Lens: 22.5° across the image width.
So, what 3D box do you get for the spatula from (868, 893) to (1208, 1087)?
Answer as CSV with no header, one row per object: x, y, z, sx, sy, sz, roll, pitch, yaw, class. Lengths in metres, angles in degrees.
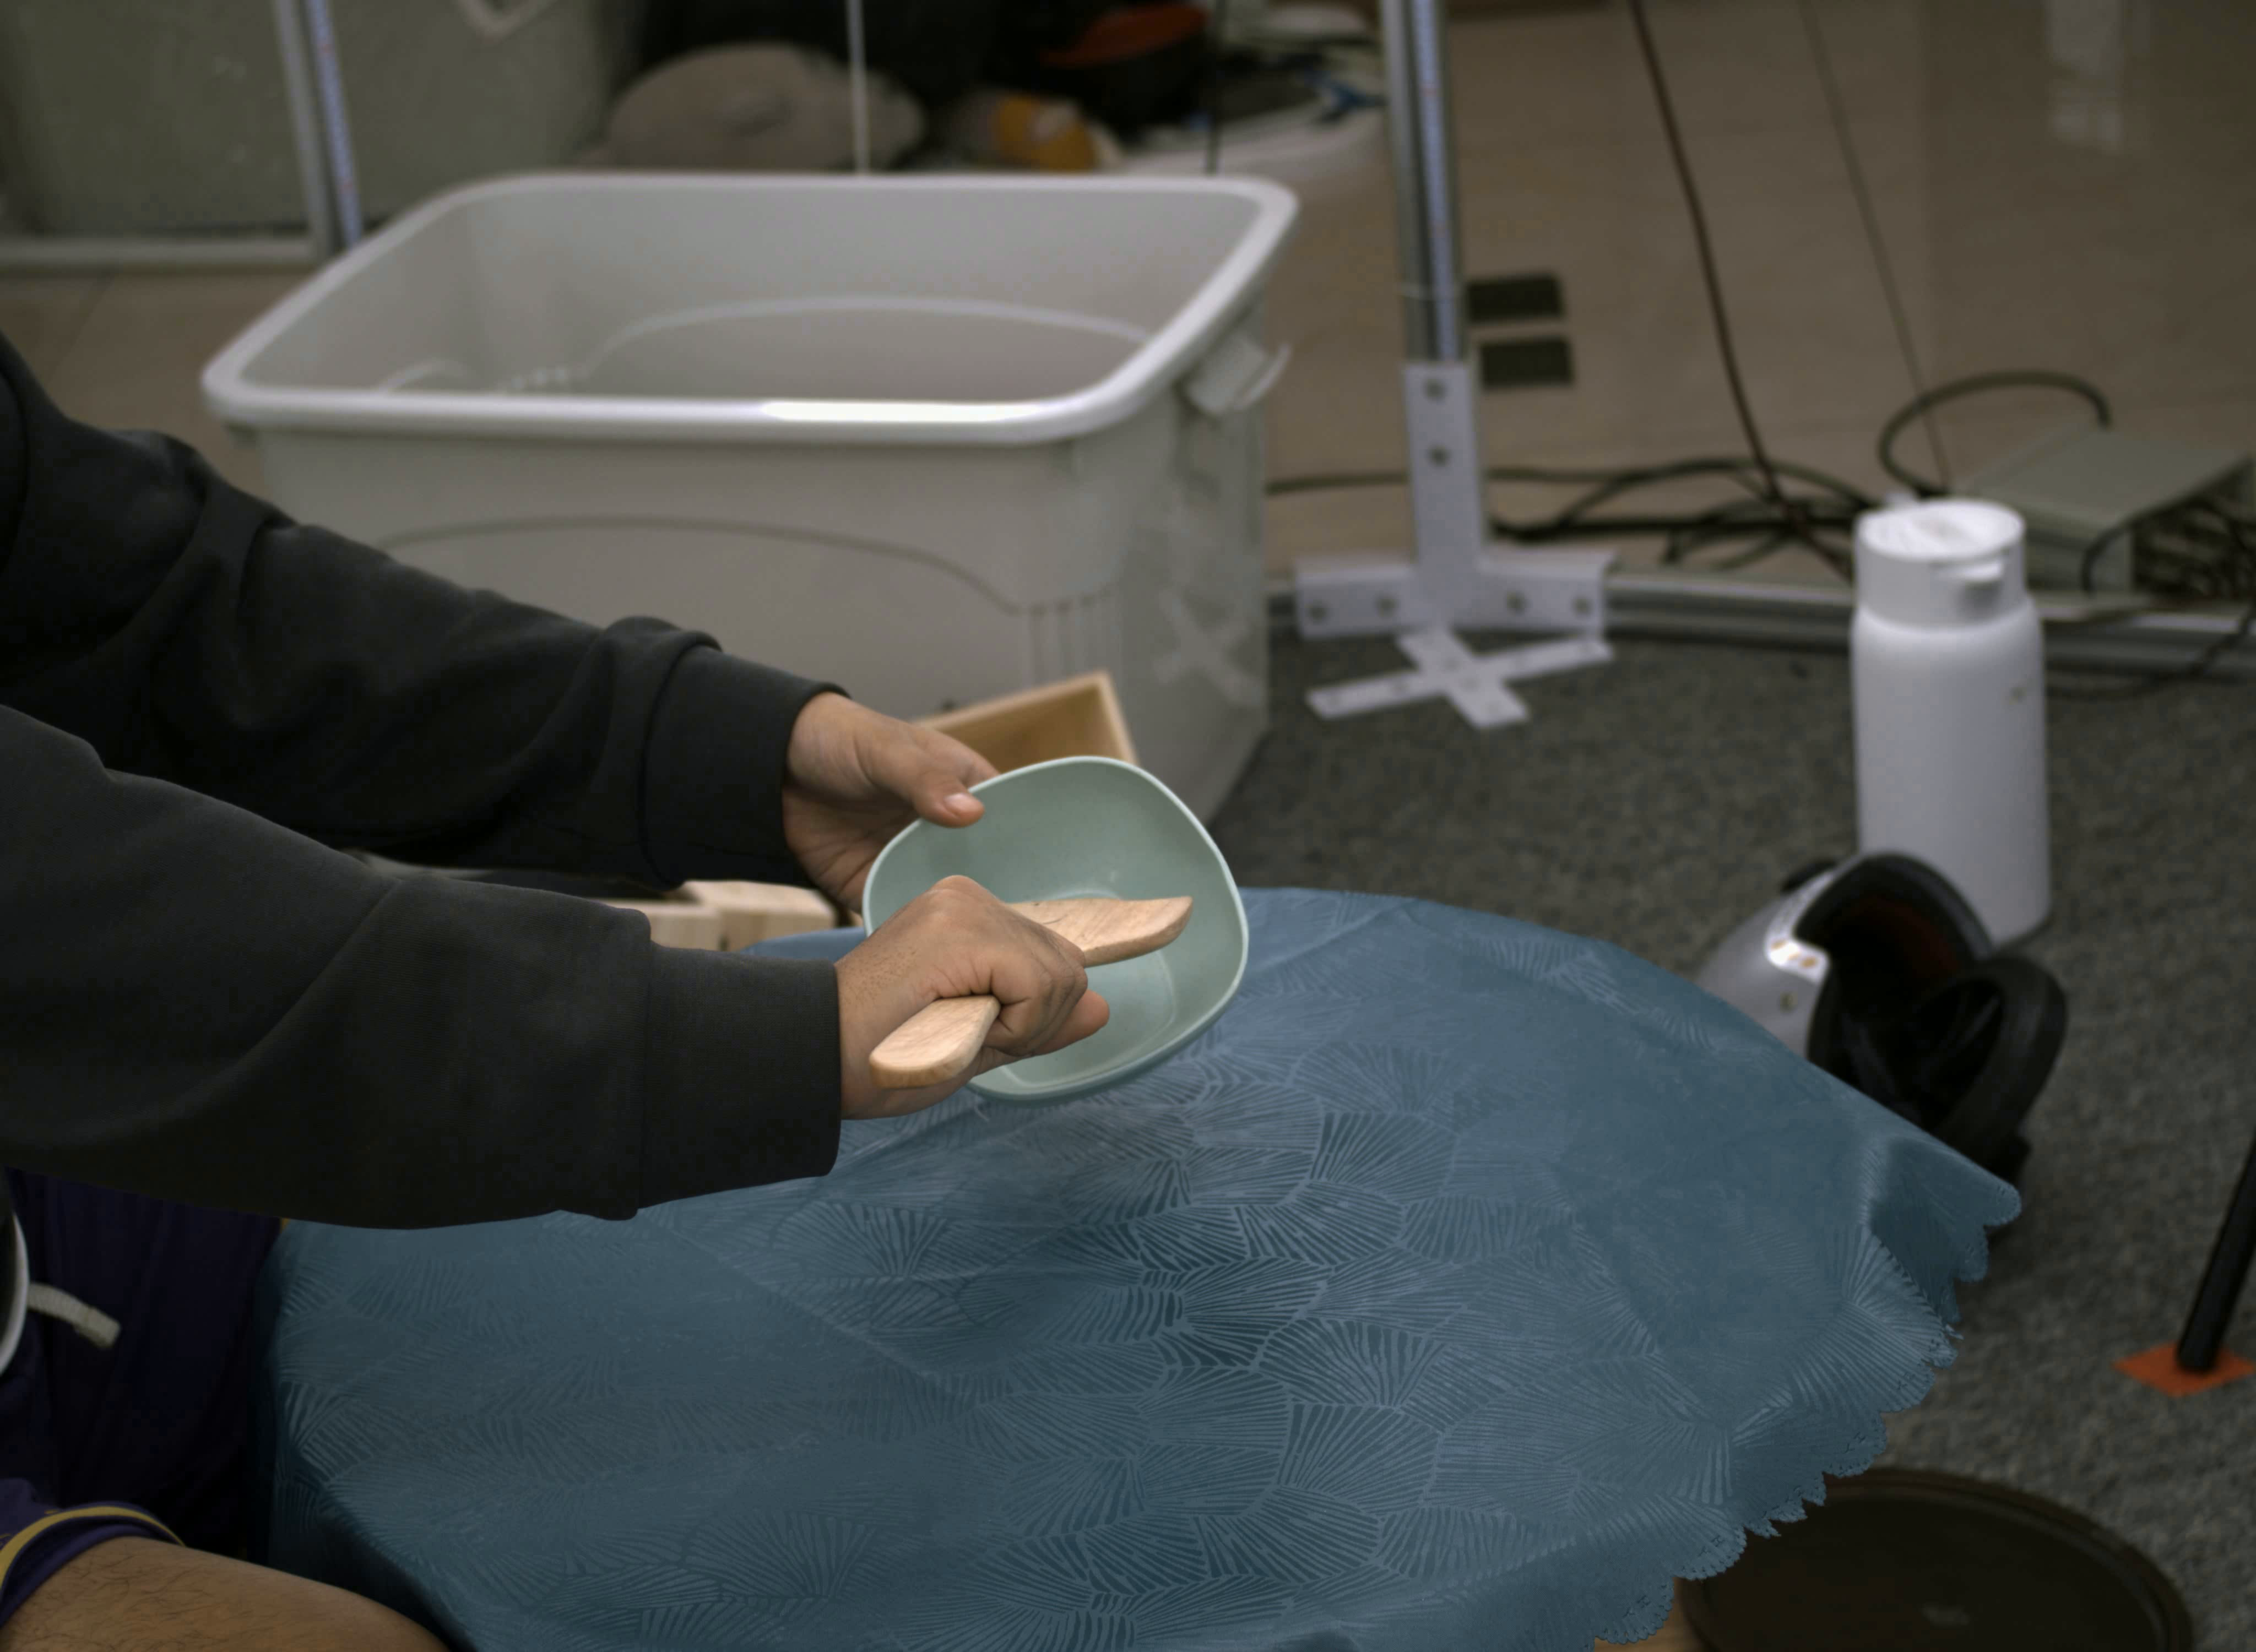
-0.039,0.053,1.942,0.095,0.018,0.389,-4,5,8,spatula

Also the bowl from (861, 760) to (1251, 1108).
-0.027,0.051,2.166,0.151,0.059,0.149,0,59,0,bowl
